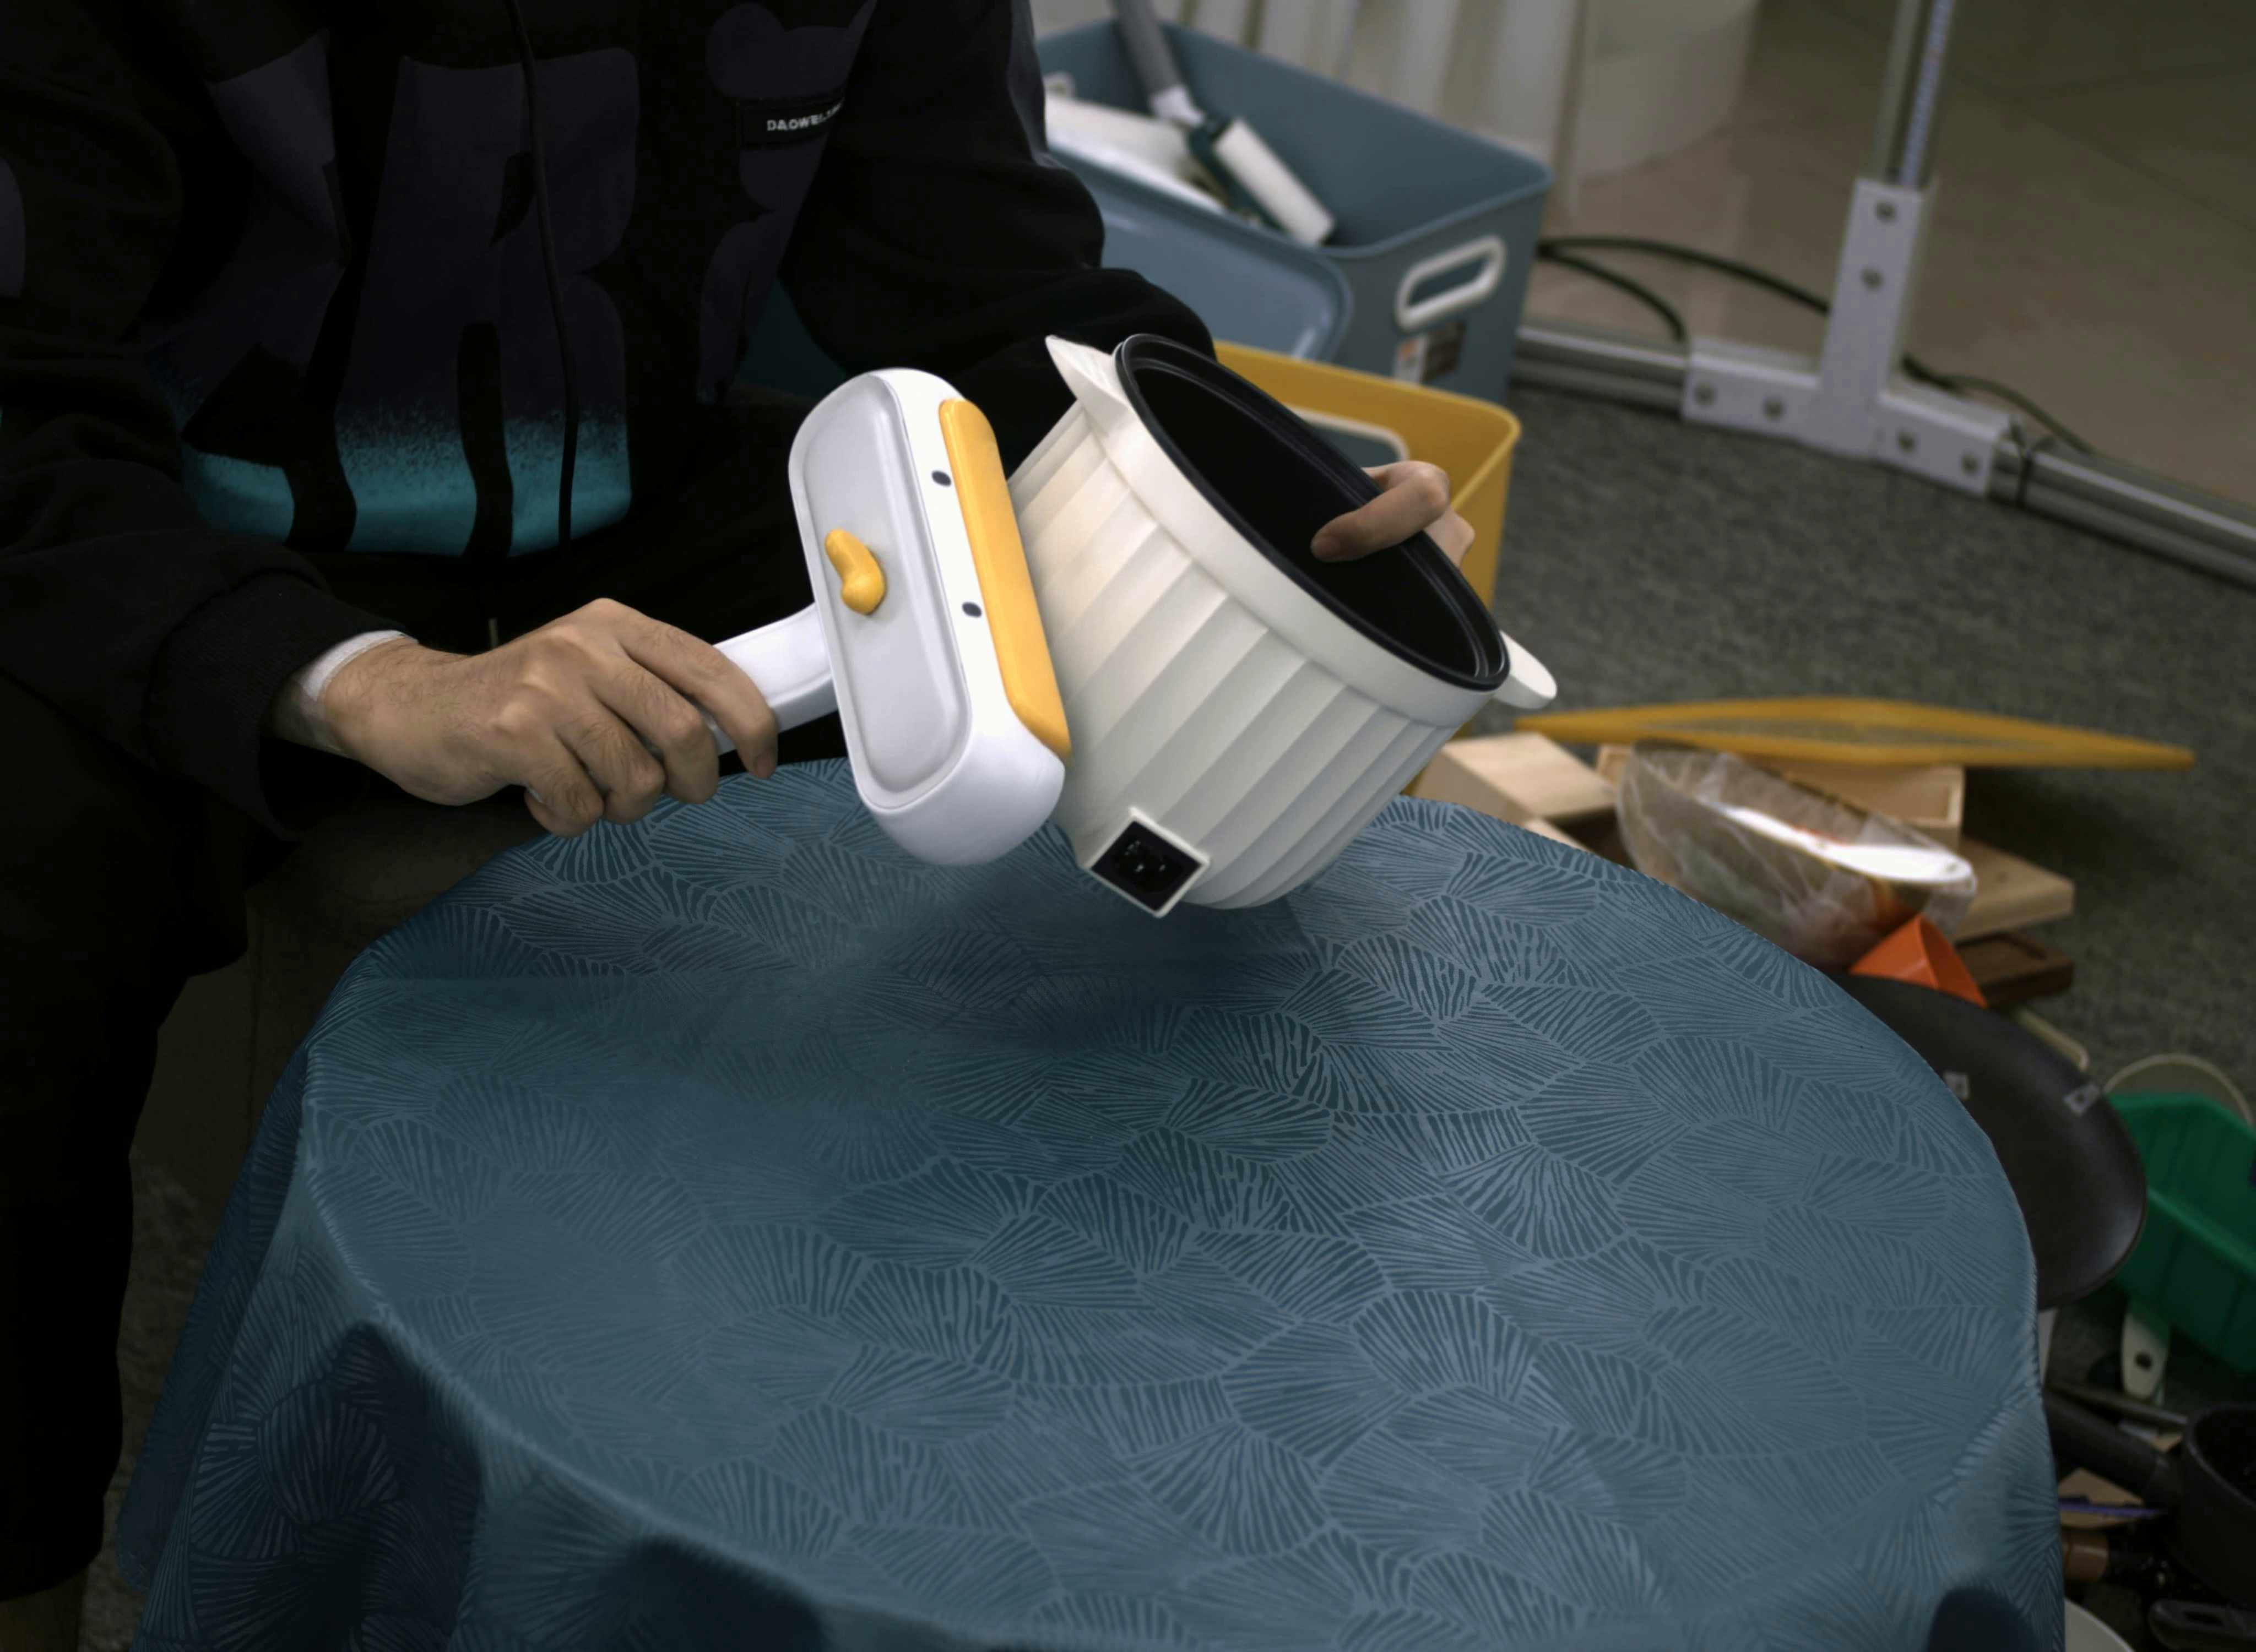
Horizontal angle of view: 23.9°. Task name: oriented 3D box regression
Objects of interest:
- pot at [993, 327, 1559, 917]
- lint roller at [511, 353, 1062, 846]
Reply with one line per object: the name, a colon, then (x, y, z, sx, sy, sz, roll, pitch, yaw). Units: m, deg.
pot: (0.024, -0.069, 1.902, 0.238, 0.142, 0.192, 34, 21, -26)
lint roller: (-0.124, -0.053, 1.844, 0.073, 0.192, 0.194, 35, 30, -53)
